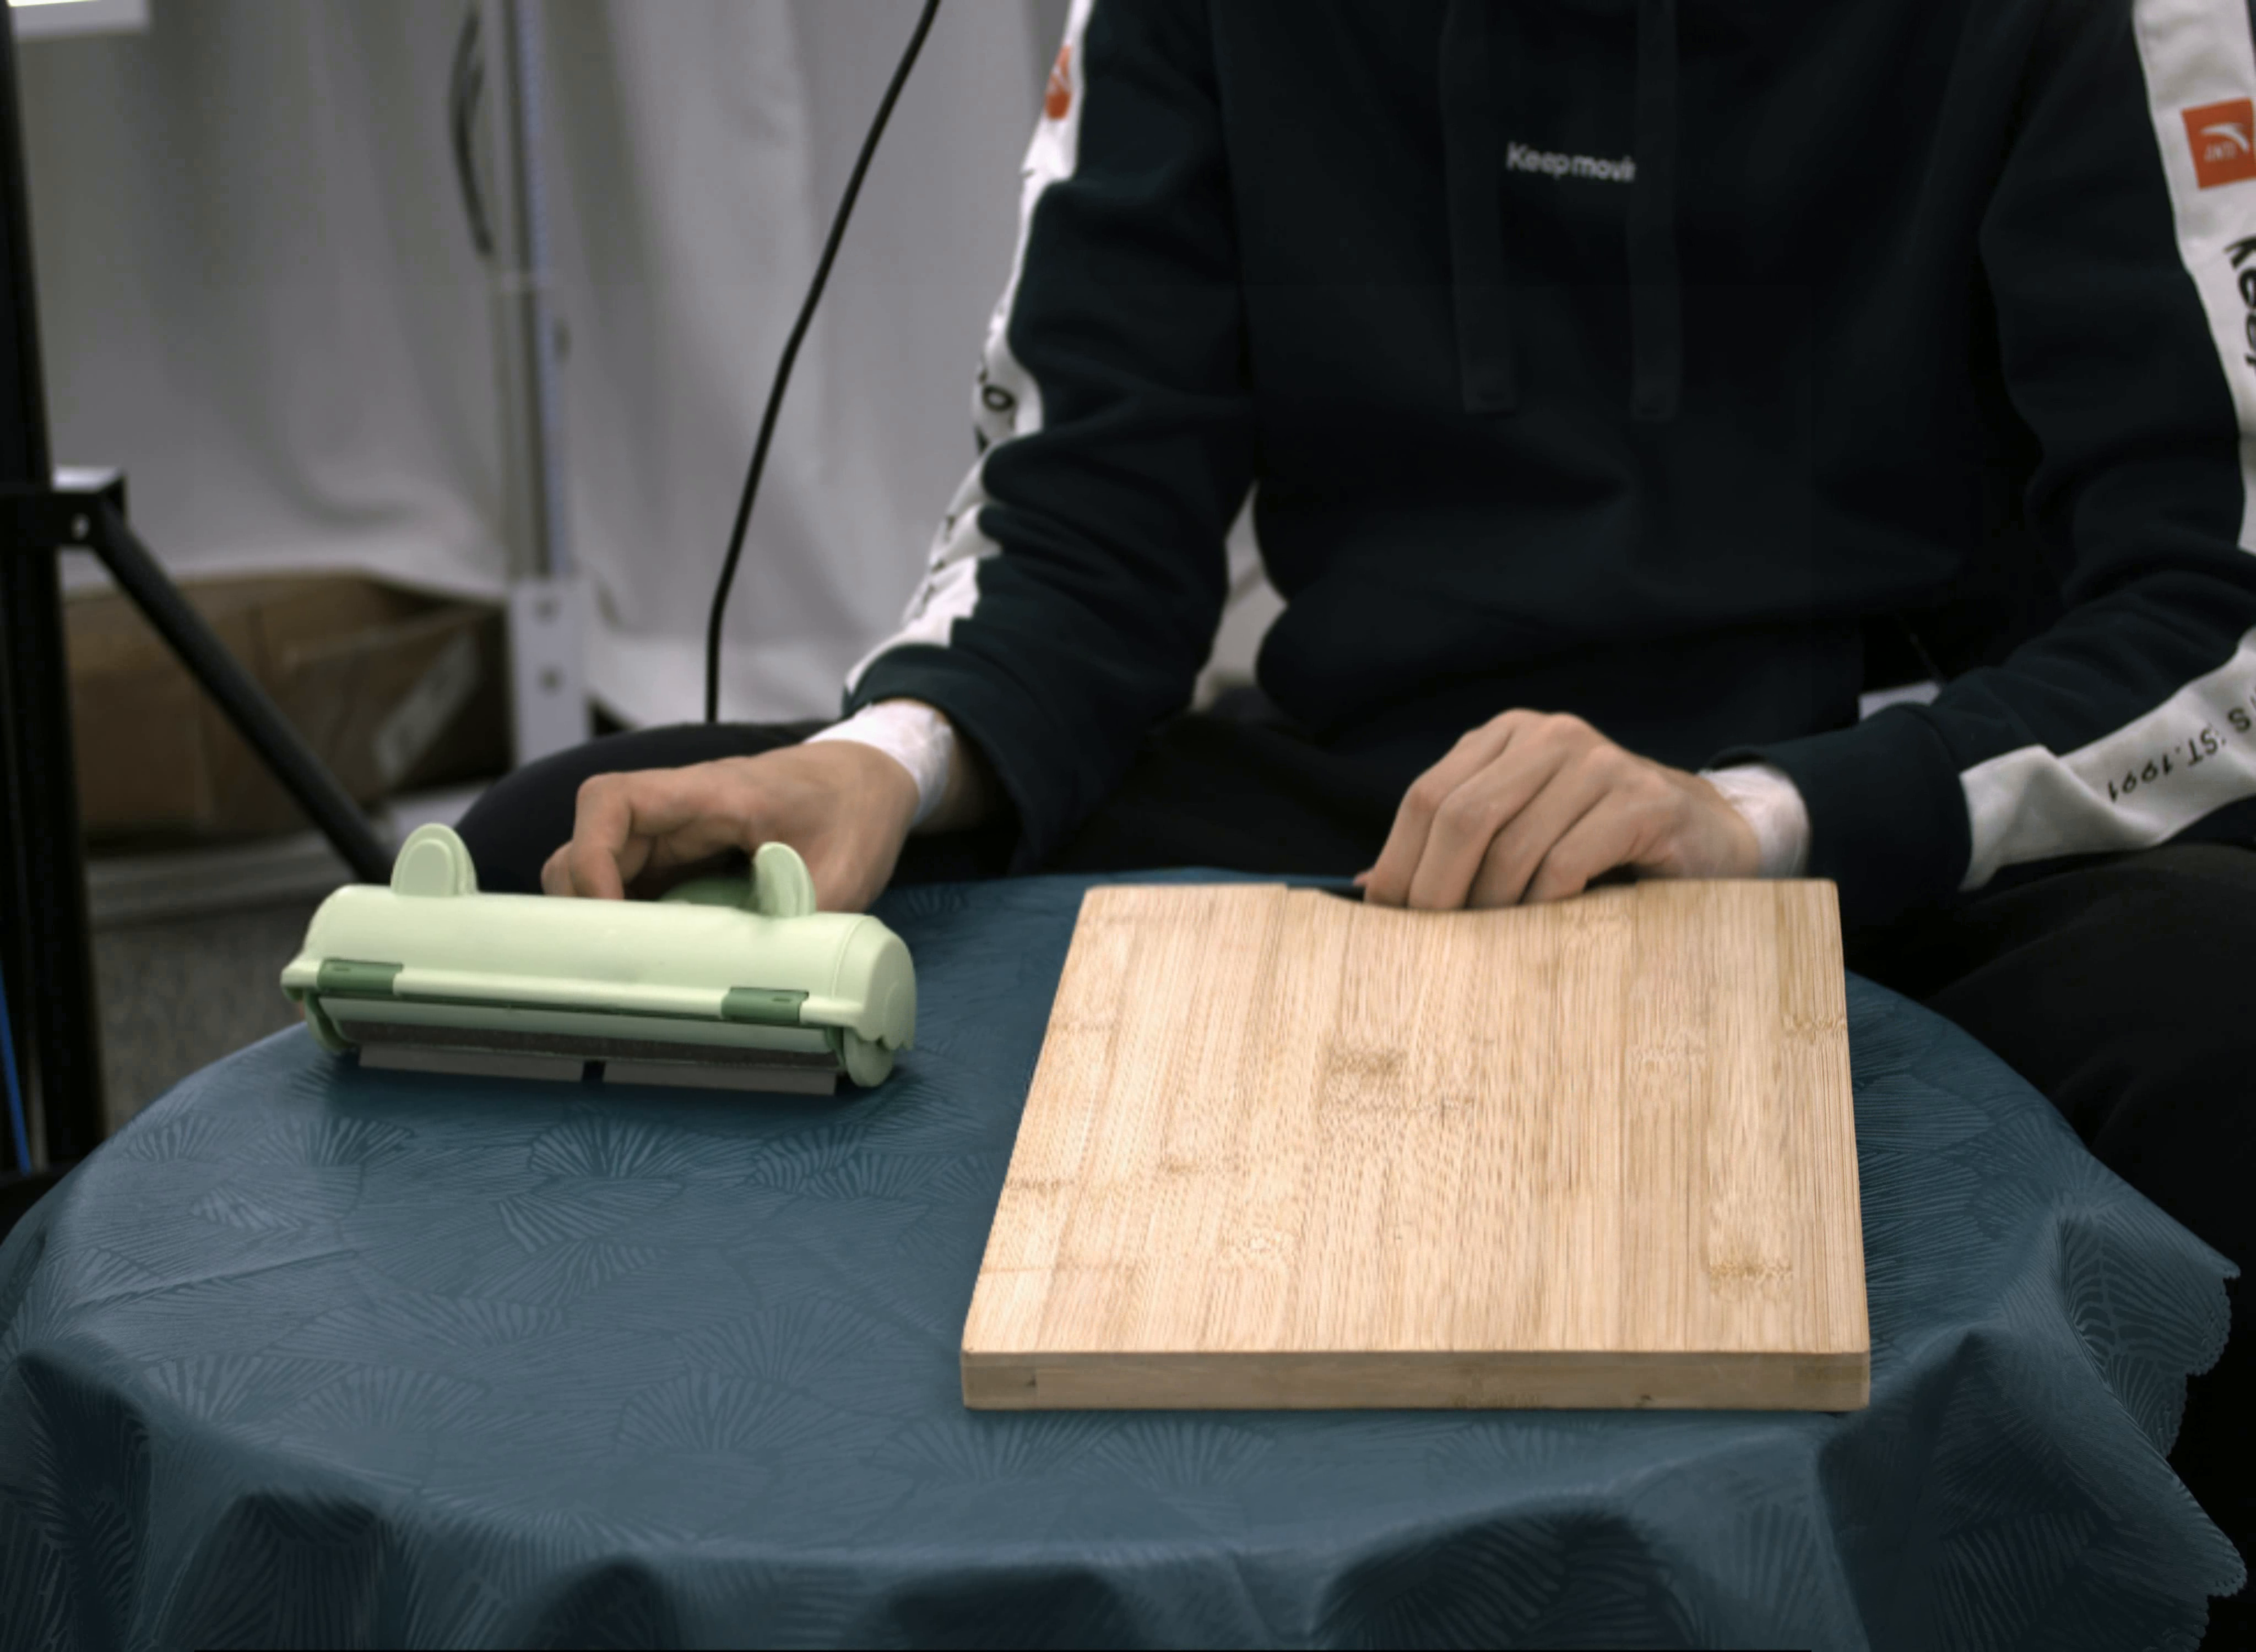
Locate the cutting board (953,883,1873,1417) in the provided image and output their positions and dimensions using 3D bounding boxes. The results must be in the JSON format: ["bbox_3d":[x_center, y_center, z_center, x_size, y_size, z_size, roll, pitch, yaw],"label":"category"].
[{"bbox_3d":[0.091,0.088,1.543,0.251,0.023,0.349,-1,20,6],"label":"cutting board"}]

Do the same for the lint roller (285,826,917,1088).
[{"bbox_3d":[-0.150,0.026,1.734,0.201,0.082,0.182,2,21,19],"label":"lint roller"}]
